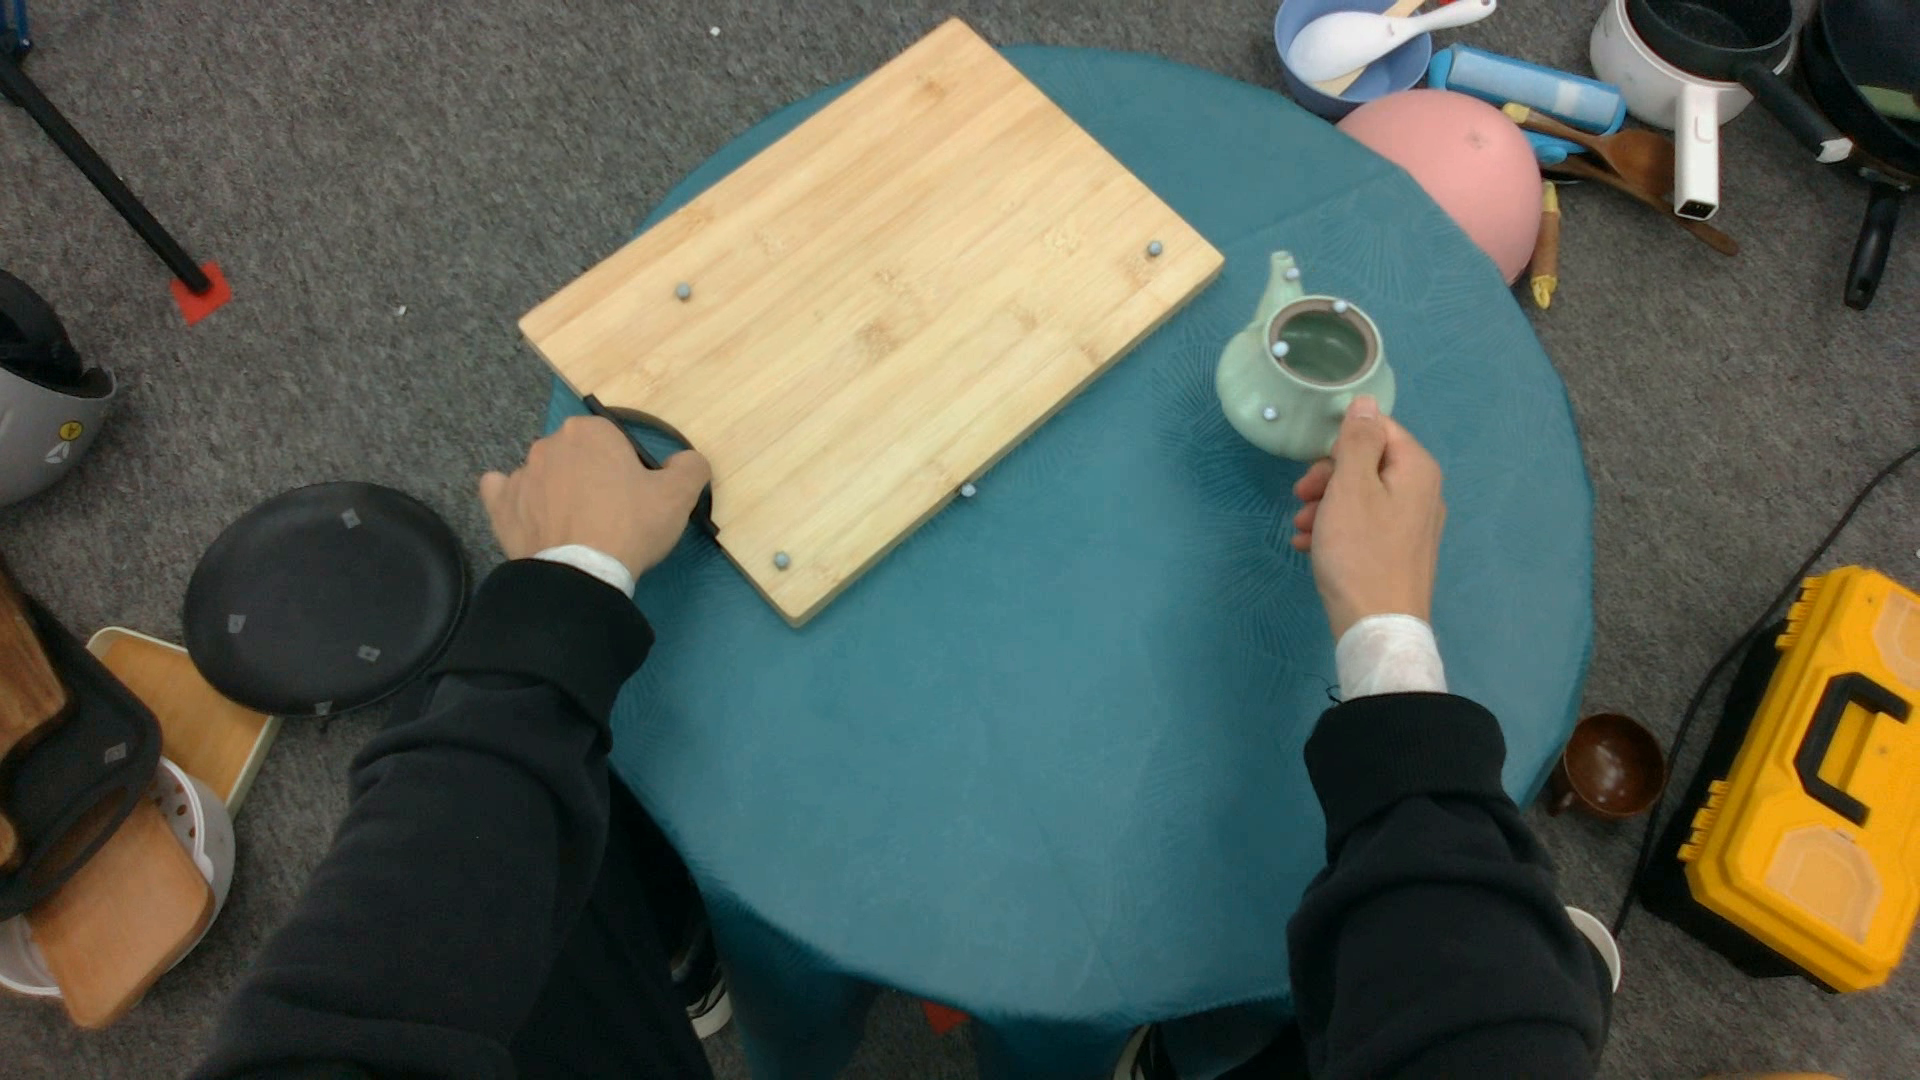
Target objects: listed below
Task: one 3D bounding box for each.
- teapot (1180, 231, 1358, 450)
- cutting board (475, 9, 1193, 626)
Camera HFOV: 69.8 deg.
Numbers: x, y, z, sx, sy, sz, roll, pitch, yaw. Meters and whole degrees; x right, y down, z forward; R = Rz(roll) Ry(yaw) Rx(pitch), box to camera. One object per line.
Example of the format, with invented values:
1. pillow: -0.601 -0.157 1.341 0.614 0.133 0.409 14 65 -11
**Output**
1. teapot: 0.170 -0.099 0.738 0.096 0.061 0.137 -18 61 -13
2. cutting board: -0.064 -0.145 0.805 0.251 0.023 0.350 44 71 13
